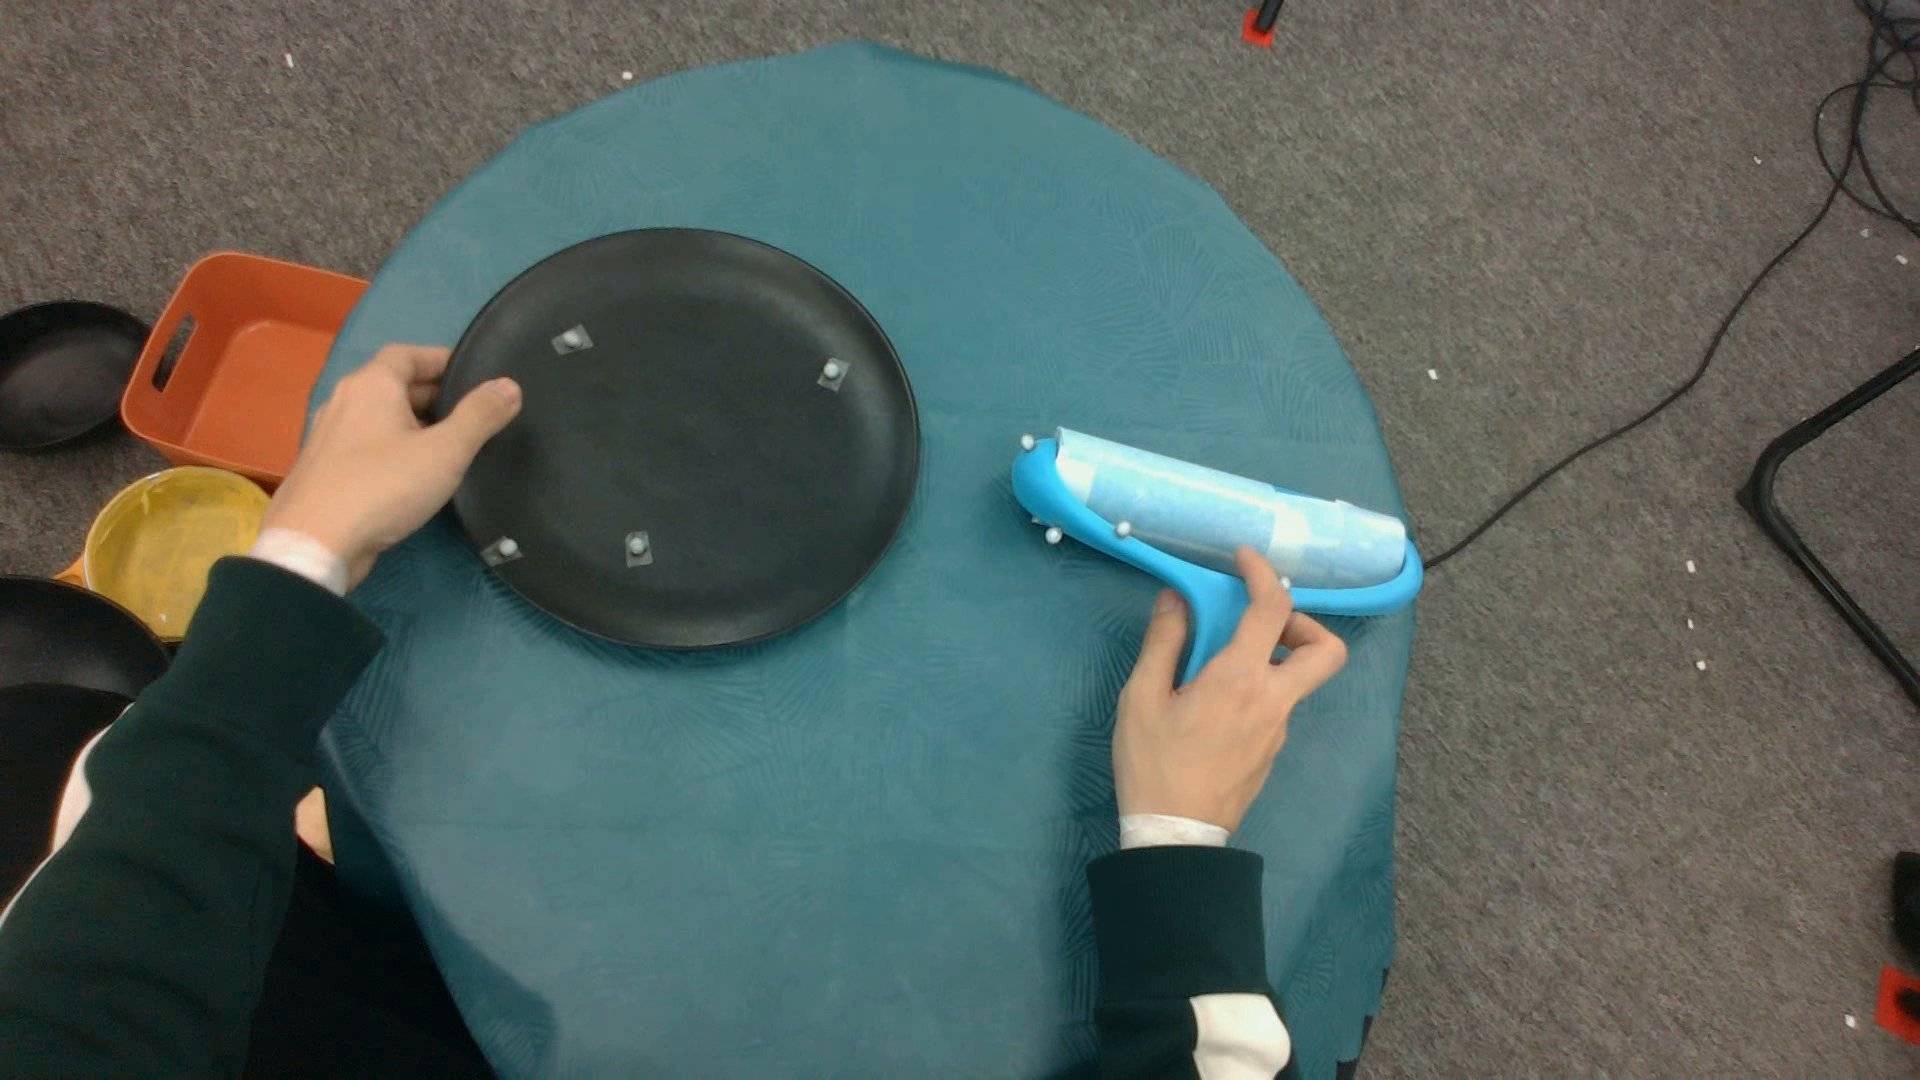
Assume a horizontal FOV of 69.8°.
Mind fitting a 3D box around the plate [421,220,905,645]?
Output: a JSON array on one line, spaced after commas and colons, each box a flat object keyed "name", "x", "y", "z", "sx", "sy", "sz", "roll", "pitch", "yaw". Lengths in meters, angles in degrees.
[{"name": "plate", "x": -0.151, "y": -0.059, "z": 0.717, "sx": 0.244, "sy": 0.023, "sz": 0.245, "roll": 4, "pitch": 66, "yaw": -10}]

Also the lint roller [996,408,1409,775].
[{"name": "lint roller", "x": 0.125, "y": 0.029, "z": 0.720, "sx": 0.229, "sy": 0.067, "sz": 0.181, "roll": 10, "pitch": 66, "yaw": -8}]
